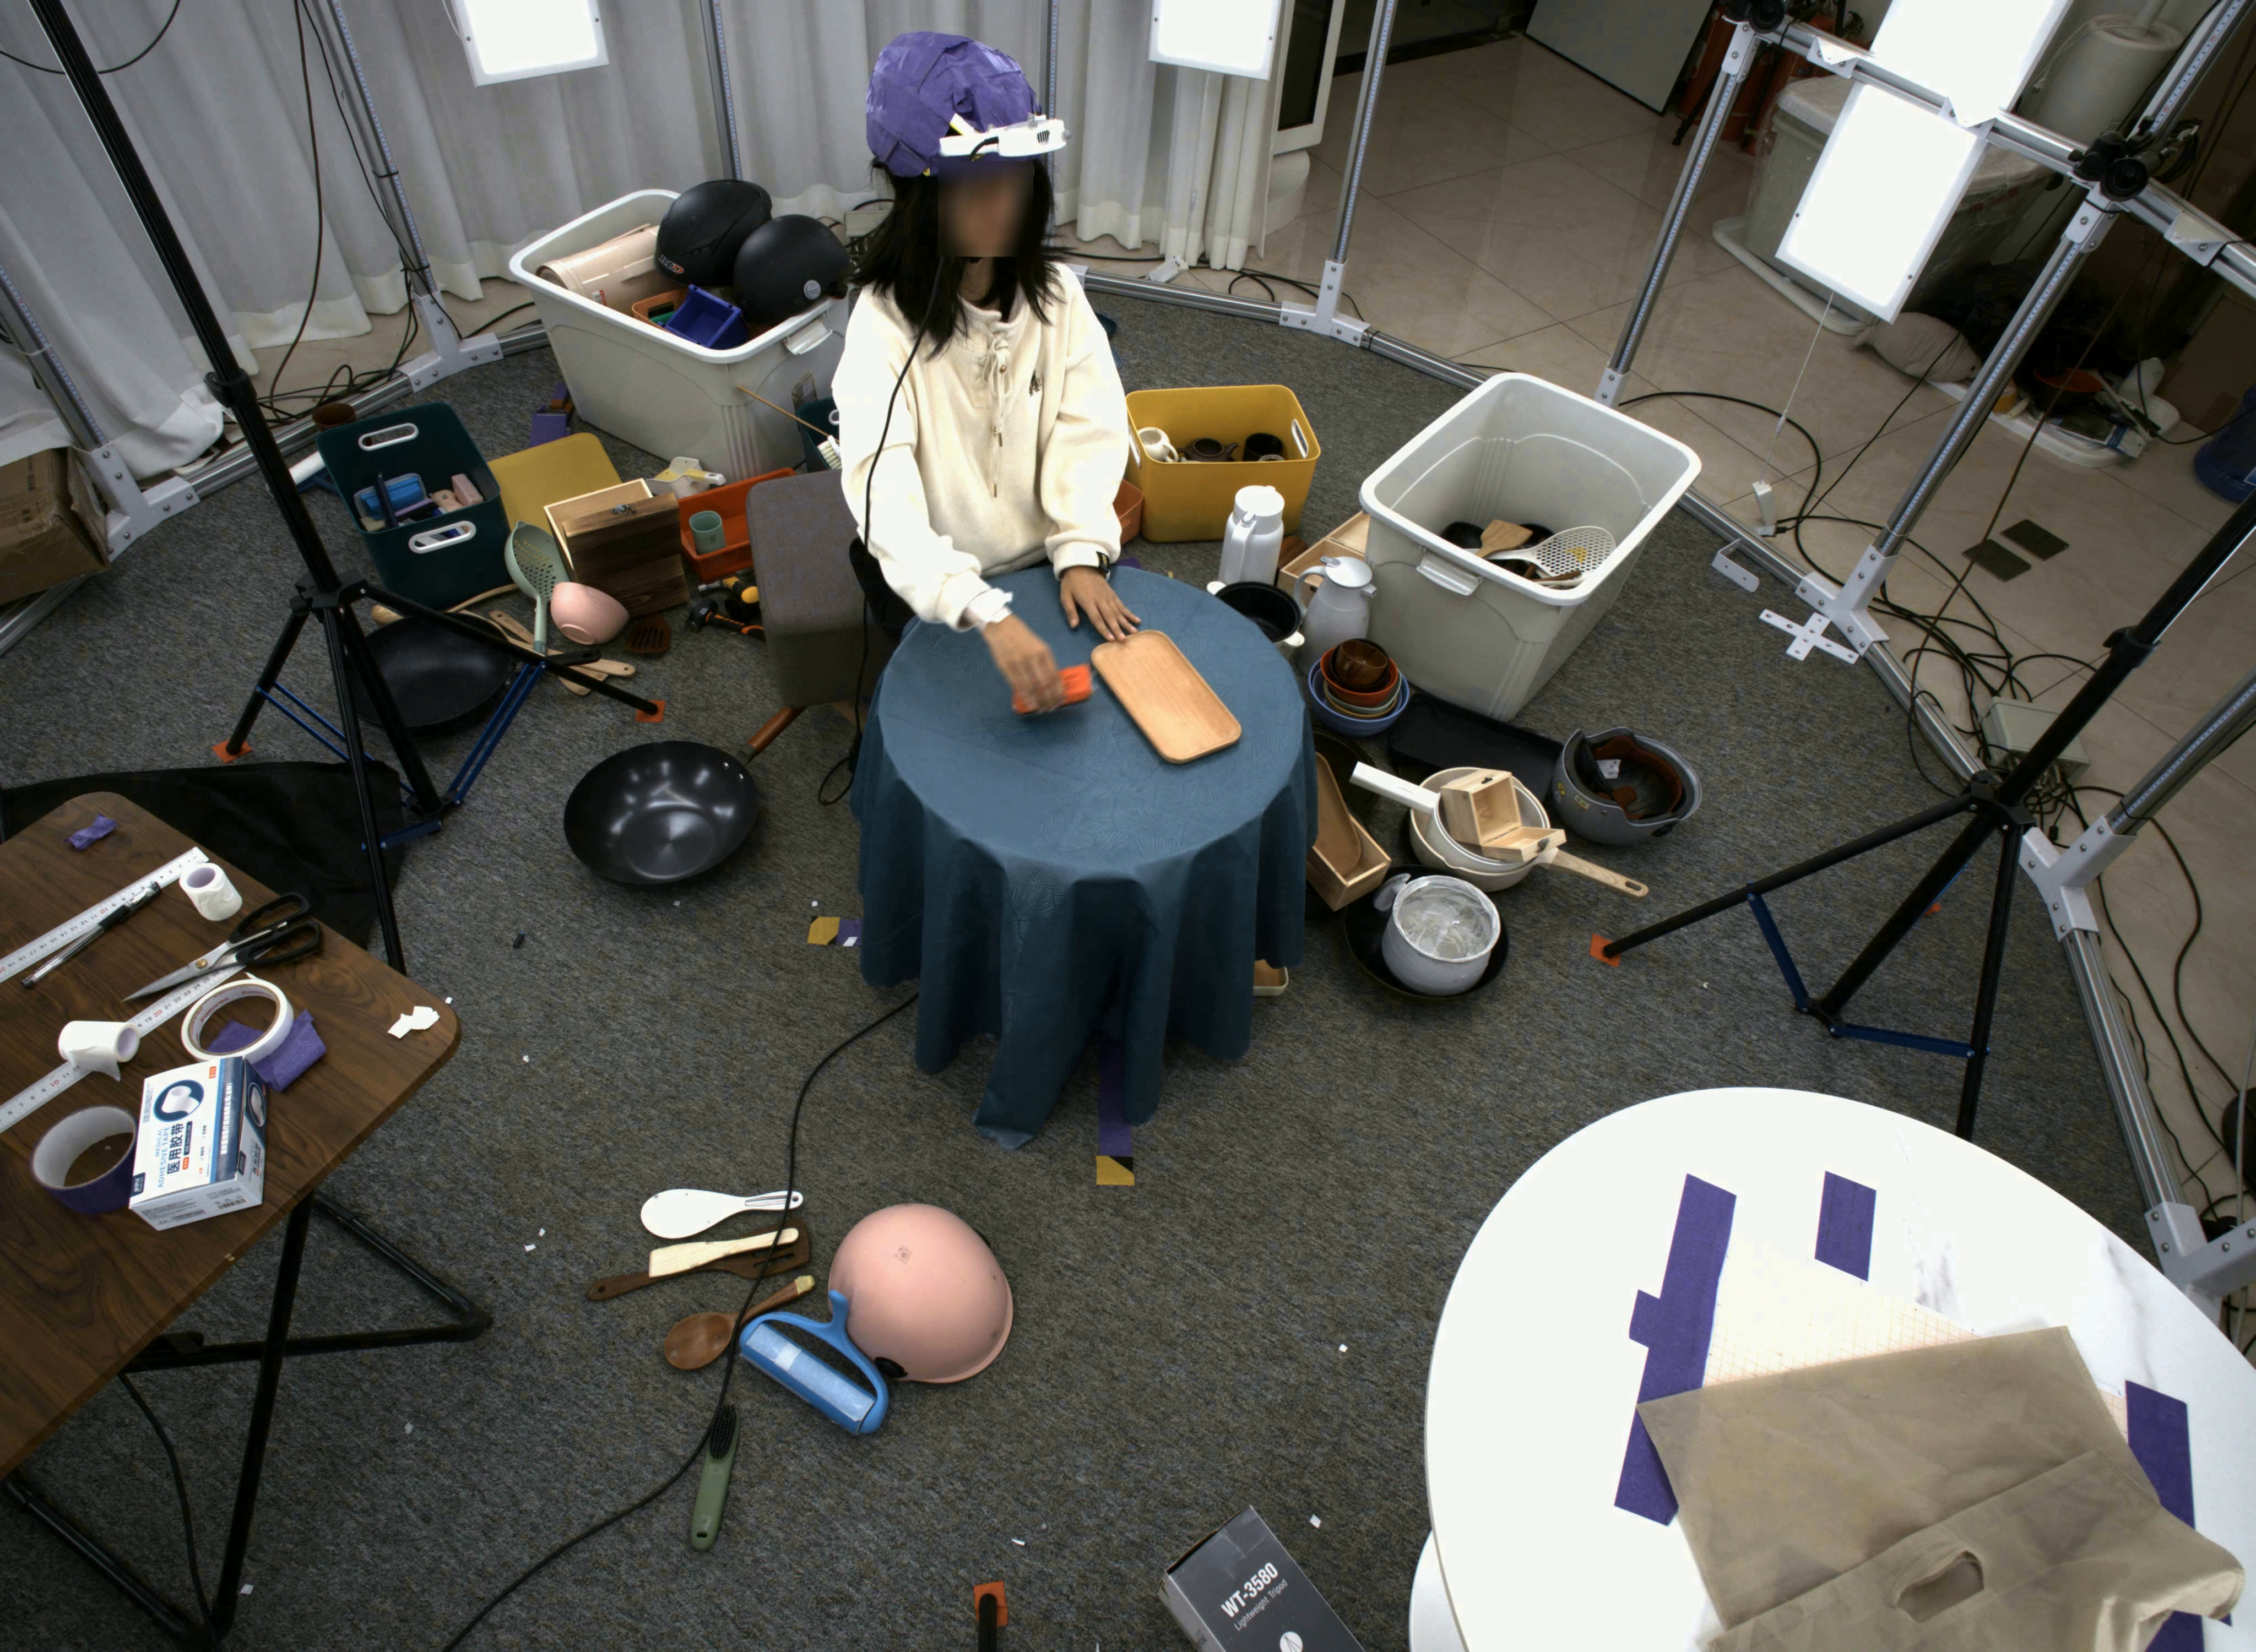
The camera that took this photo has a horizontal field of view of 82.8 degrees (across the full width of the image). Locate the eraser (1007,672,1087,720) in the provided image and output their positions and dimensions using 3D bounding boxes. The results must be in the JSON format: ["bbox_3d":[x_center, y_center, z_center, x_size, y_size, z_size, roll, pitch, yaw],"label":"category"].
[{"bbox_3d":[-0.111,-0.179,1.769,0.108,0.022,0.060,-10,44,5],"label":"eraser"}]

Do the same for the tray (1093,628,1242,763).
[{"bbox_3d":[0.053,-0.188,1.825,0.131,0.022,0.256,-18,52,-21],"label":"tray"}]
